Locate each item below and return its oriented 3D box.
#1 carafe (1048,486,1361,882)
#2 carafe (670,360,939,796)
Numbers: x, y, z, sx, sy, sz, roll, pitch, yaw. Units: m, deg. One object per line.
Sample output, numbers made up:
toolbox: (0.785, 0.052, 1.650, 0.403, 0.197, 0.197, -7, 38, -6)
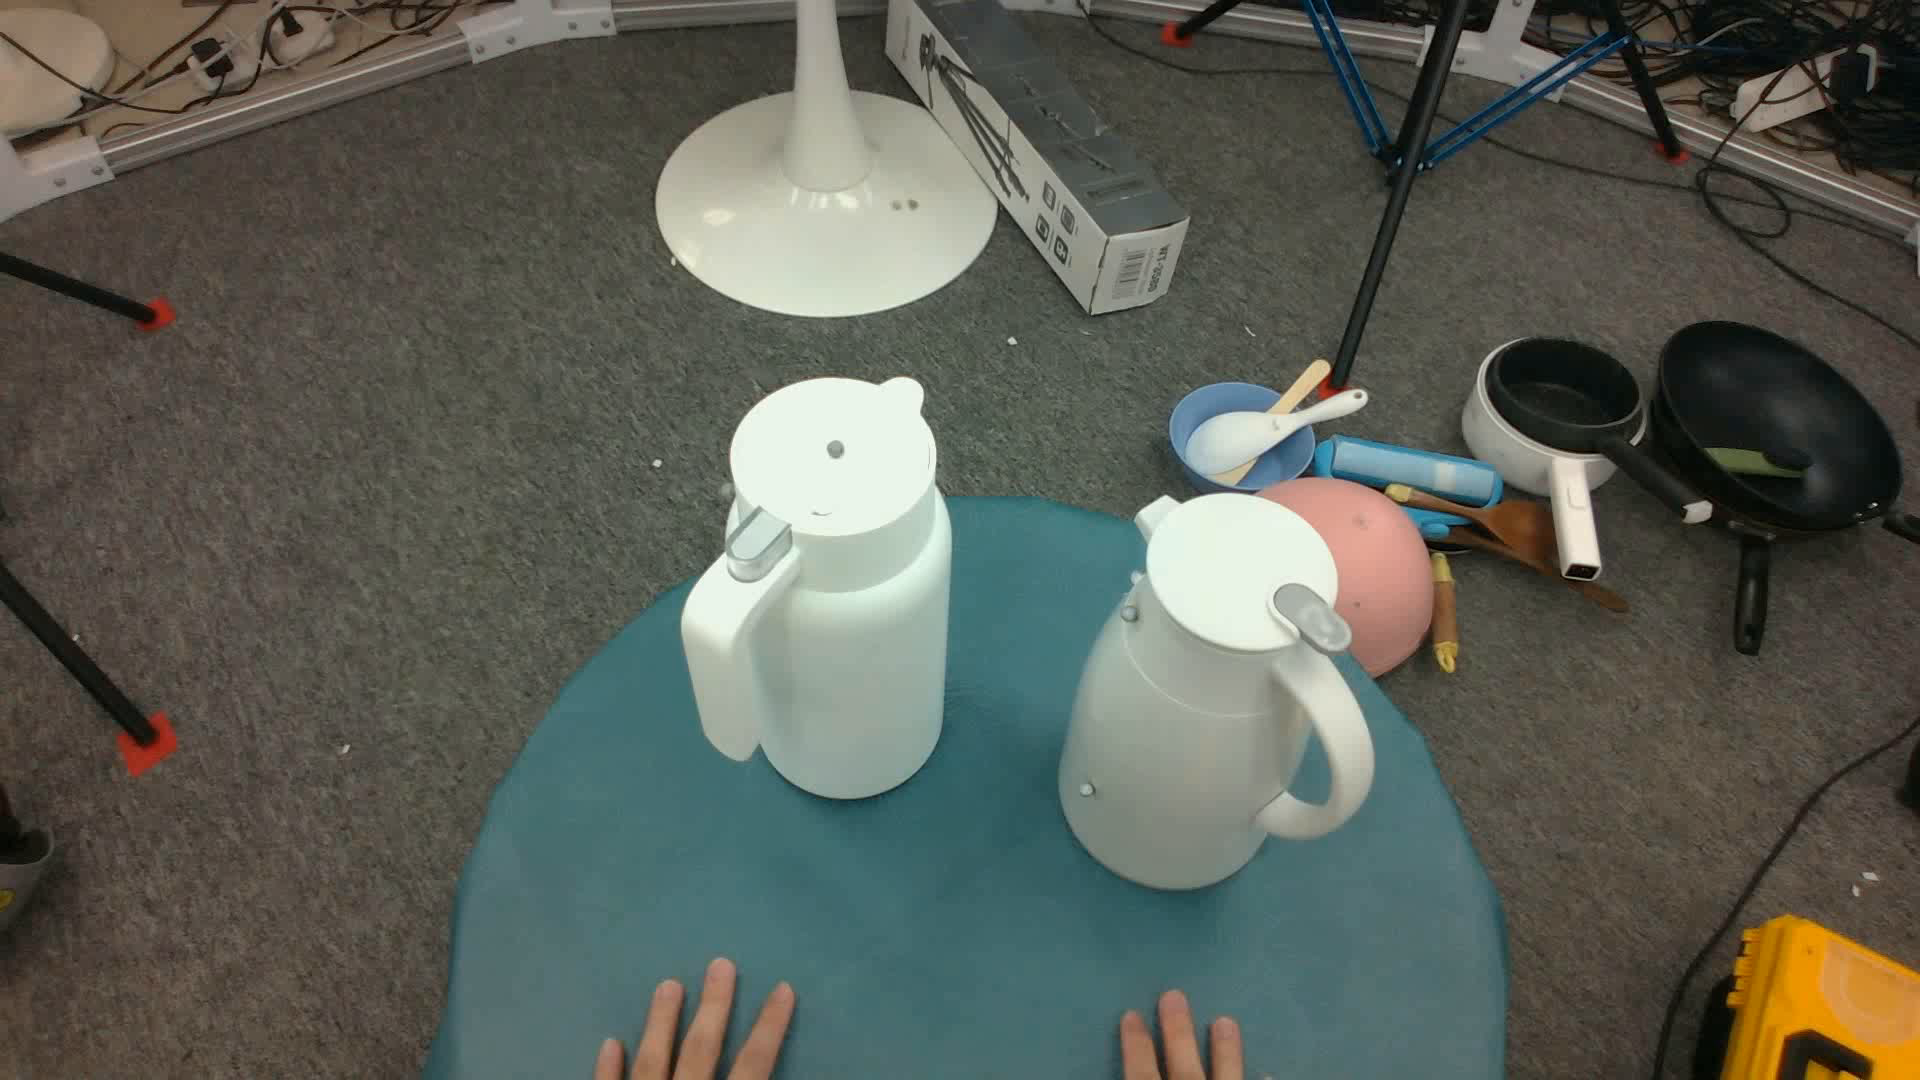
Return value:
carafe: (0.137, 0.089, 0.742, 0.133, 0.247, 0.168, -32, 63, -23)
carafe: (-0.080, 0.045, 0.749, 0.124, 0.267, 0.173, 29, 57, 14)
